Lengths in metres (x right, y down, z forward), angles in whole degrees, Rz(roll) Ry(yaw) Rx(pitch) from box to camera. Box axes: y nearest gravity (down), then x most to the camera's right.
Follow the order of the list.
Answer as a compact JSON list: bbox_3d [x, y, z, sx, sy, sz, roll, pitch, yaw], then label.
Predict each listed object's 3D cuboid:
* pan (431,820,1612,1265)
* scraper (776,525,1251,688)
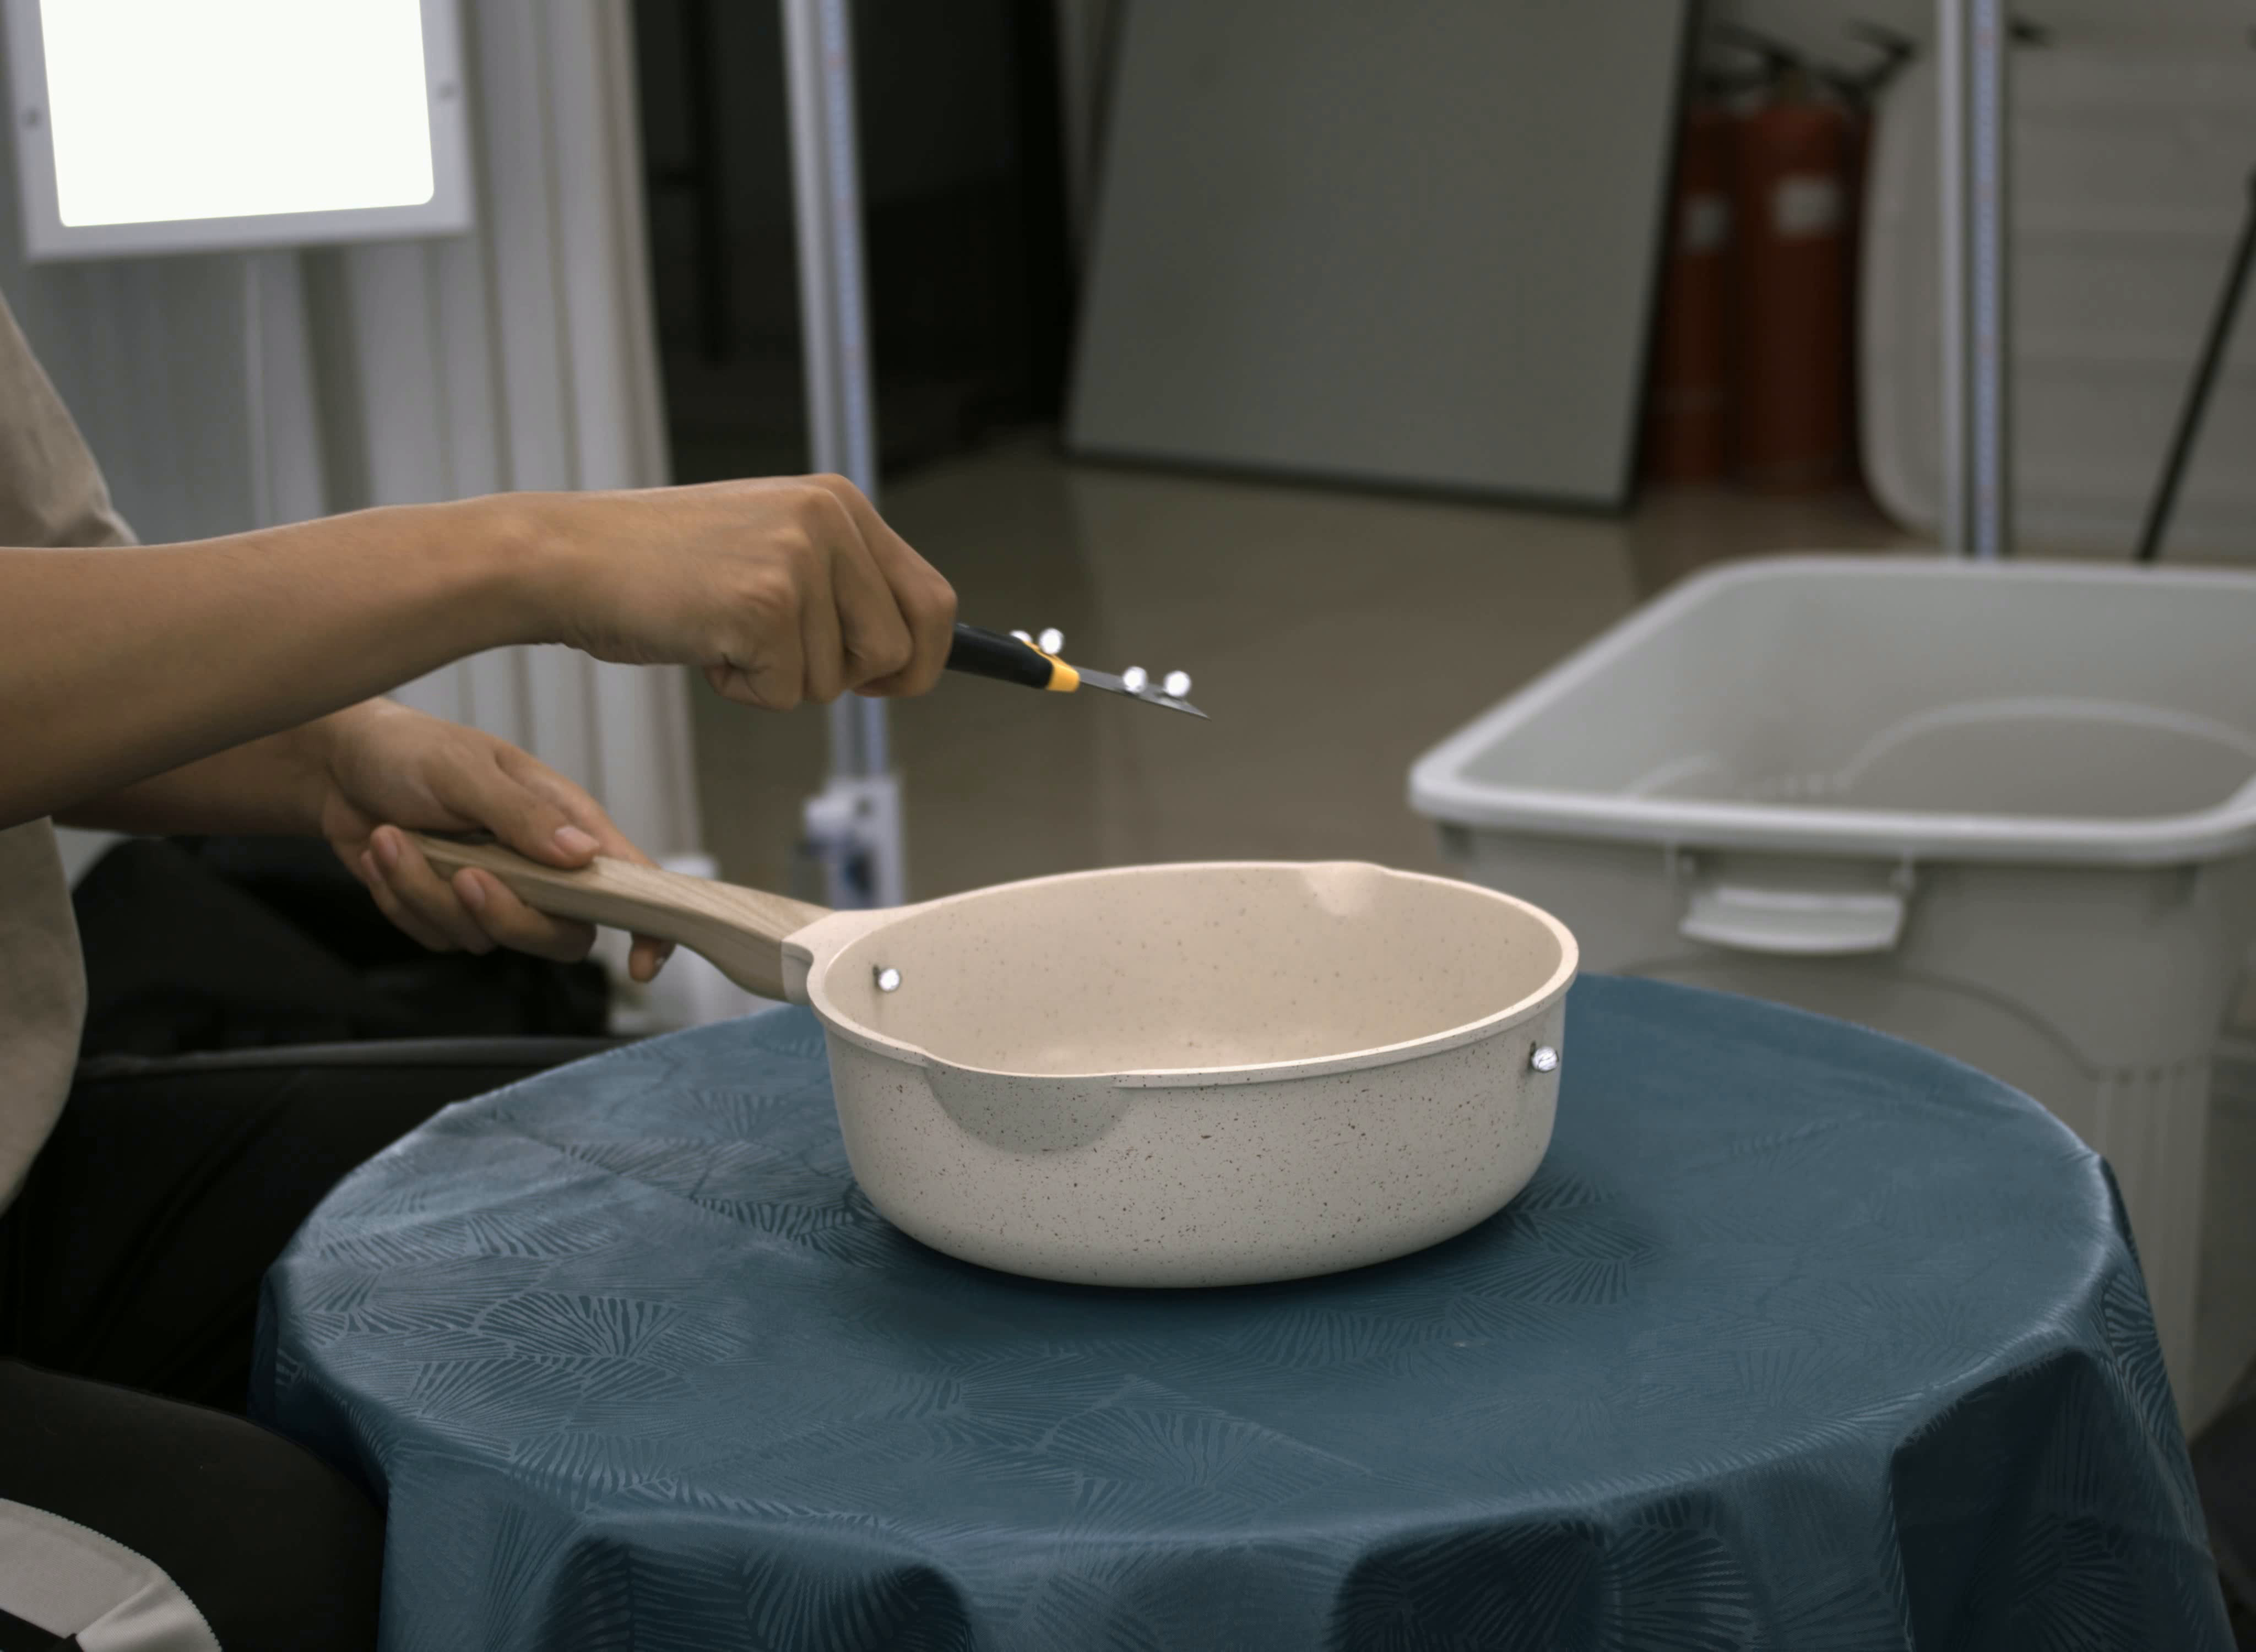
[{"bbox_3d":[-0.044,0.061,1.811,0.436,0.103,0.260,3,18,28],"label":"pan"},{"bbox_3d":[-0.036,-0.068,1.706,0.167,0.015,0.039,13,19,-30],"label":"scraper"}]
